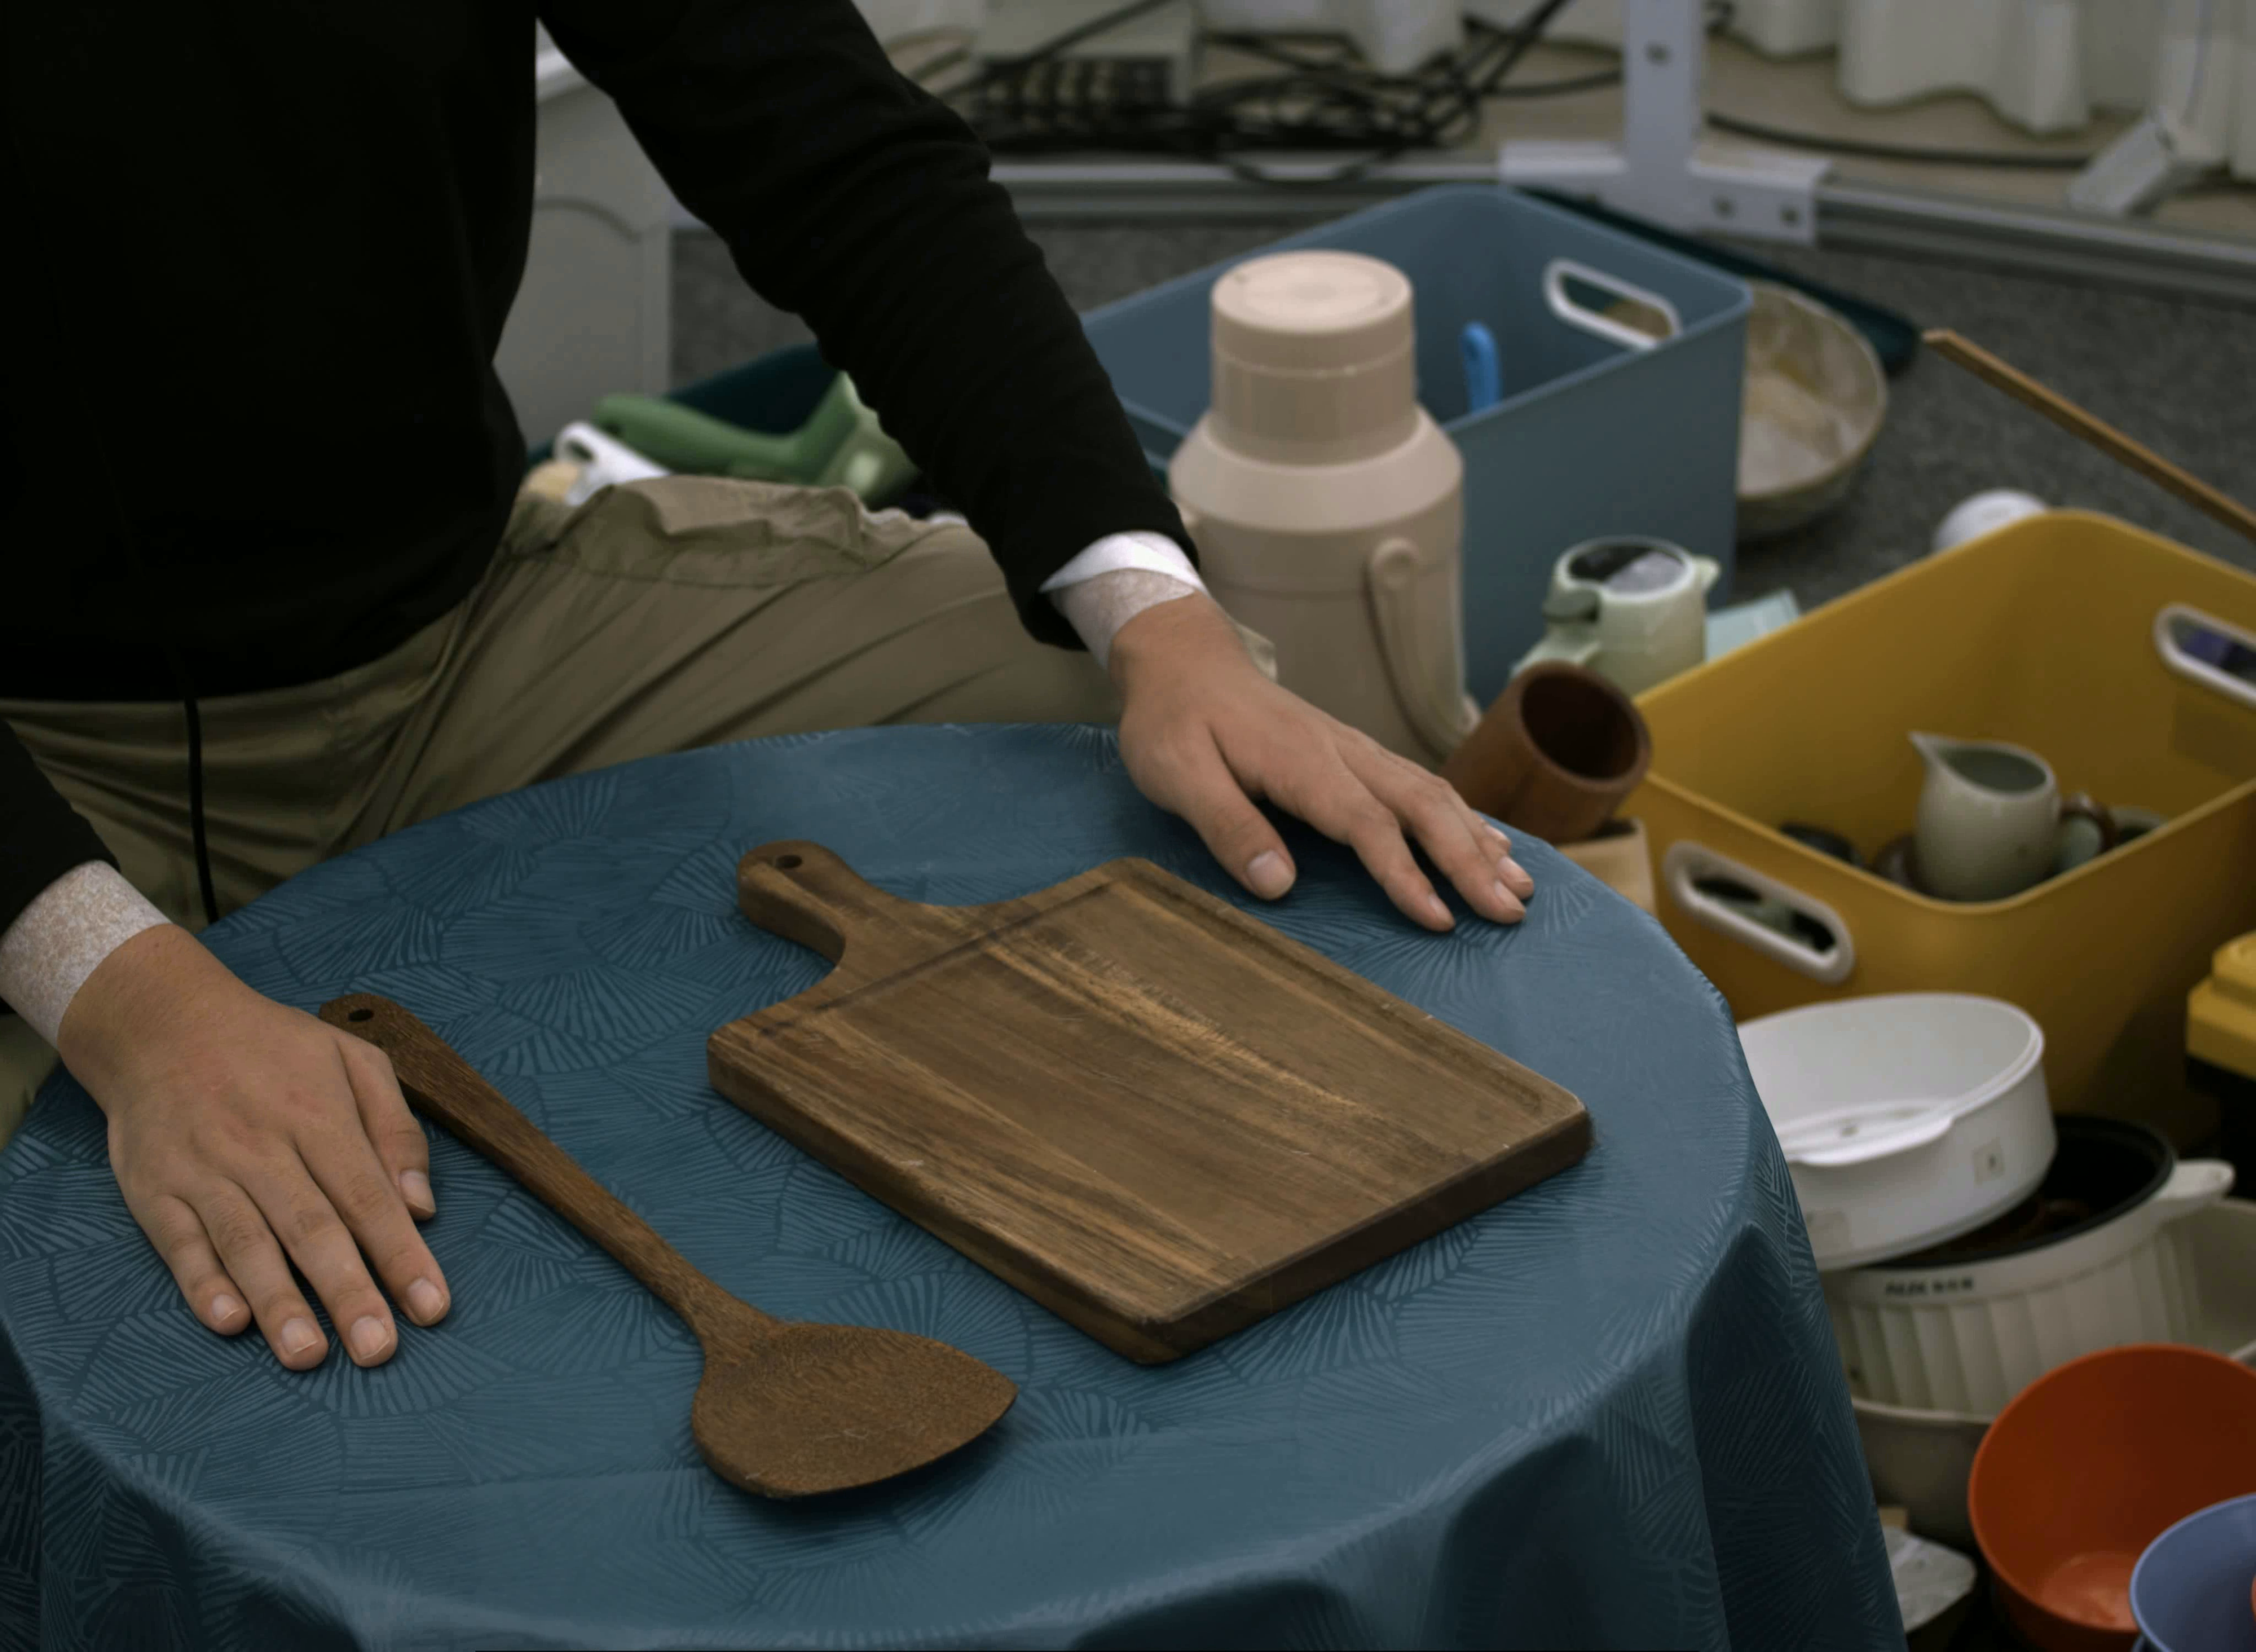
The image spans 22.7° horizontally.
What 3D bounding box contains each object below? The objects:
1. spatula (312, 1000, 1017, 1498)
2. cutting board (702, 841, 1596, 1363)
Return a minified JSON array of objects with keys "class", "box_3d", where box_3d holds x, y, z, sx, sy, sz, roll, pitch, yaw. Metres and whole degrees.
[{"class":"spatula","box_3d":[-0.173,0.130,1.846,0.097,0.015,0.387,-19,31,-30]},{"class":"cutting board","box_3d":[-0.026,0.074,1.934,0.203,0.023,0.352,-22,33,-33]}]
